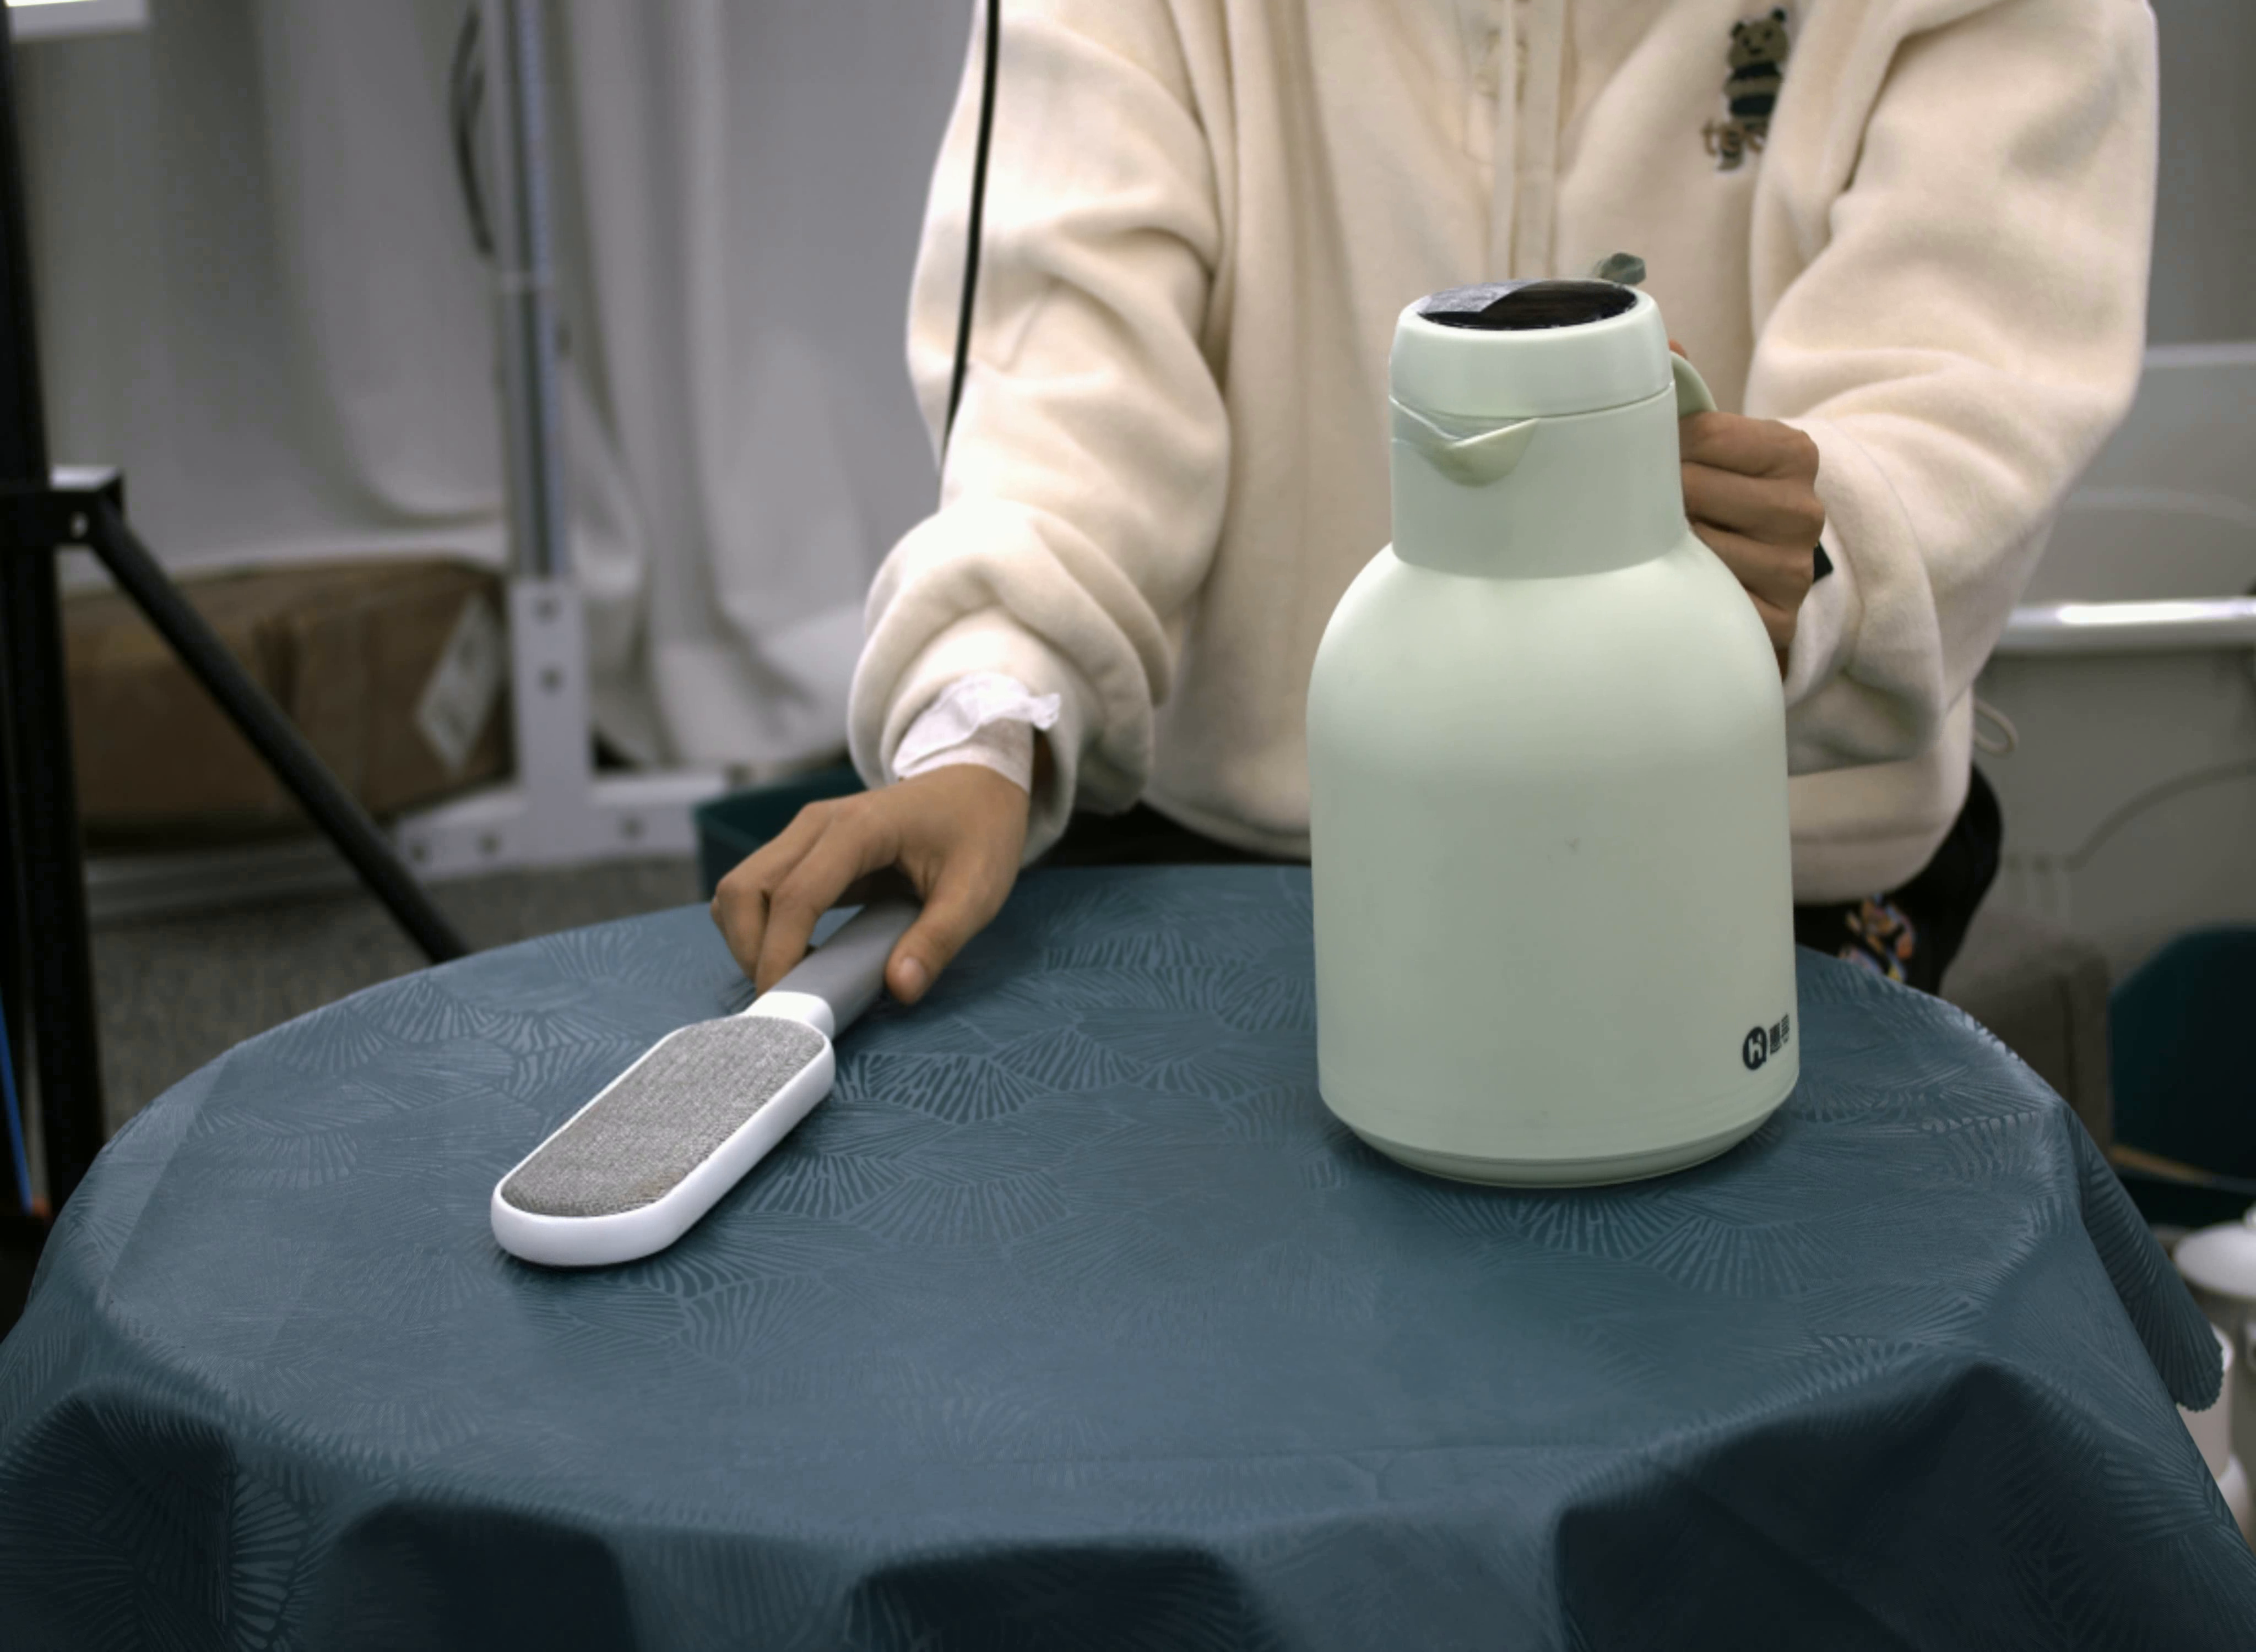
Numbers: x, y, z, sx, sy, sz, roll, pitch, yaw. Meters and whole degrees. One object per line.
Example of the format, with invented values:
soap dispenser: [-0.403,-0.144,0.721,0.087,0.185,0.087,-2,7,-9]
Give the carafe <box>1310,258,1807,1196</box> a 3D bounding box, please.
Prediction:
carafe: [0.131,-0.033,1.571,0.147,0.257,0.183,5,15,31]

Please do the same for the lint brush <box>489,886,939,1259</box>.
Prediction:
lint brush: [-0.117,0.072,1.647,0.060,0.021,0.306,1,18,18]
